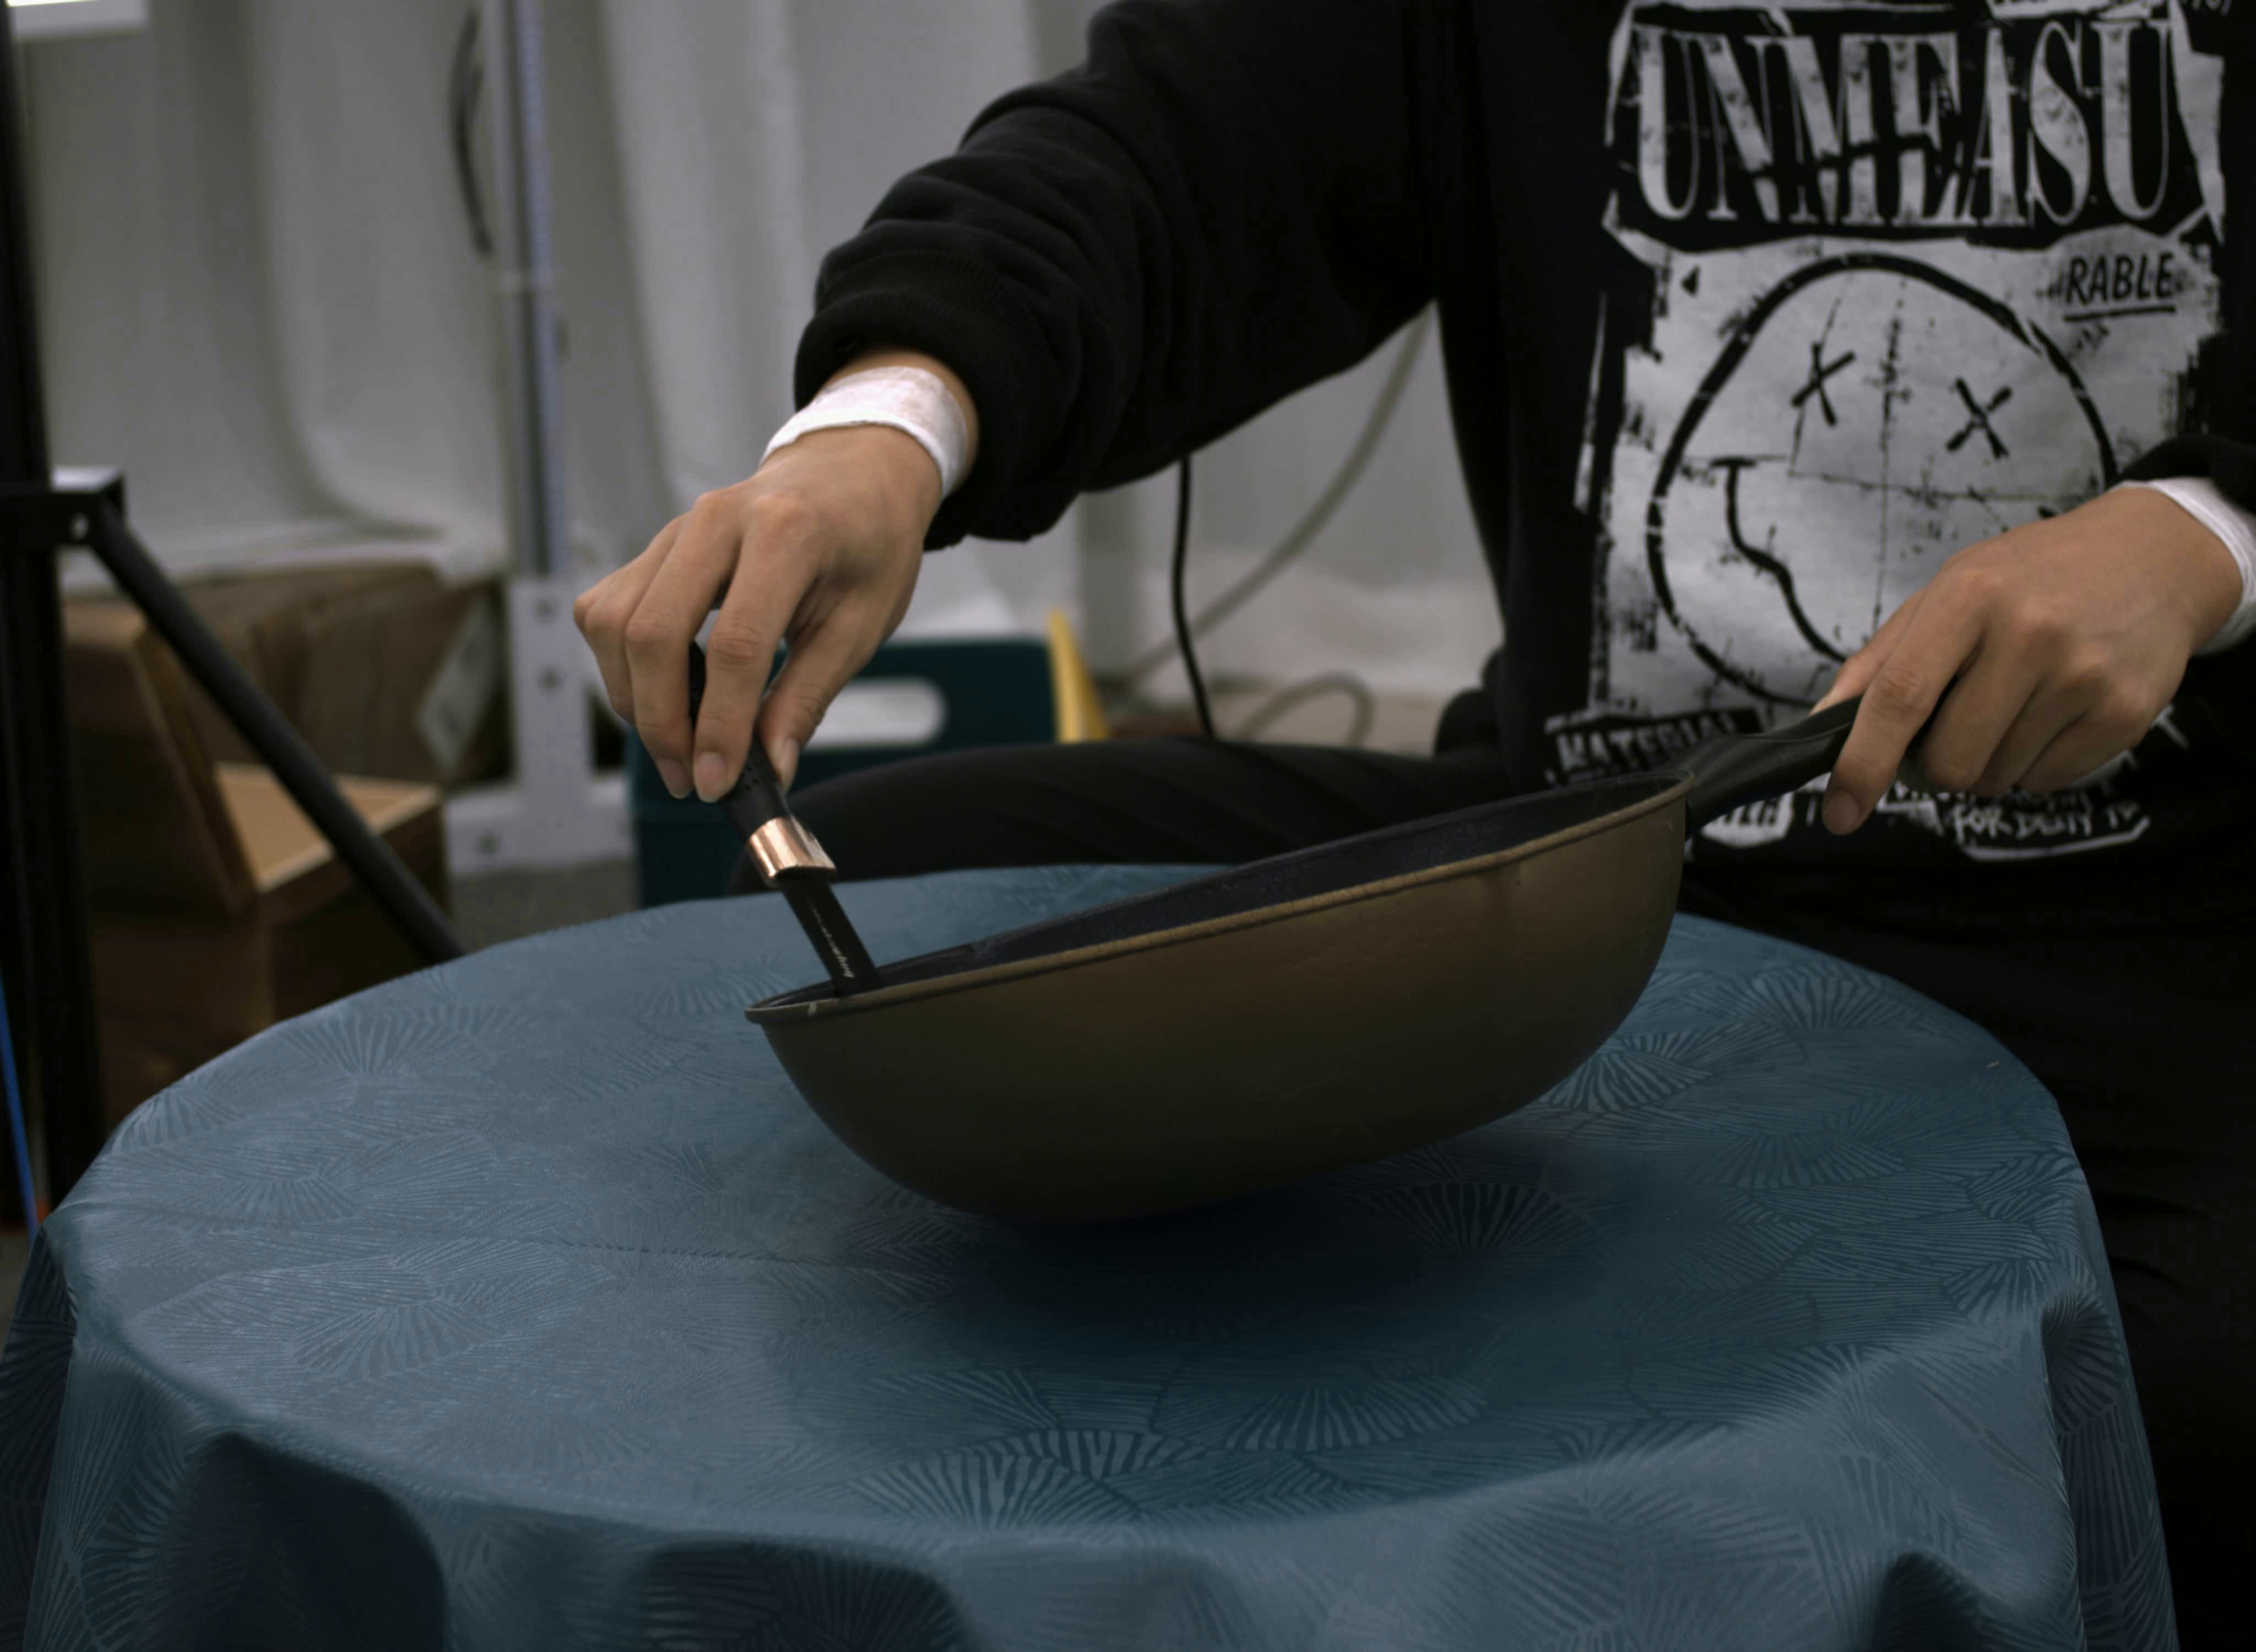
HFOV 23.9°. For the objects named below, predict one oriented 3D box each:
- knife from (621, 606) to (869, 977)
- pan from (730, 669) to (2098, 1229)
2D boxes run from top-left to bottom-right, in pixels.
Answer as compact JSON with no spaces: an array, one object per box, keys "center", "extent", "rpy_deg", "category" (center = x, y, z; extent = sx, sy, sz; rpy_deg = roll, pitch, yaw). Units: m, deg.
[{"center":[-0.099,0.018,1.609],"extent":[0.025,0.017,0.230],"rpy_deg":[19,33,-54],"category":"knife"},{"center":[0.108,0.038,1.549],"extent":[0.453,0.087,0.293],"rpy_deg":[-14,1,-29],"category":"pan"}]
